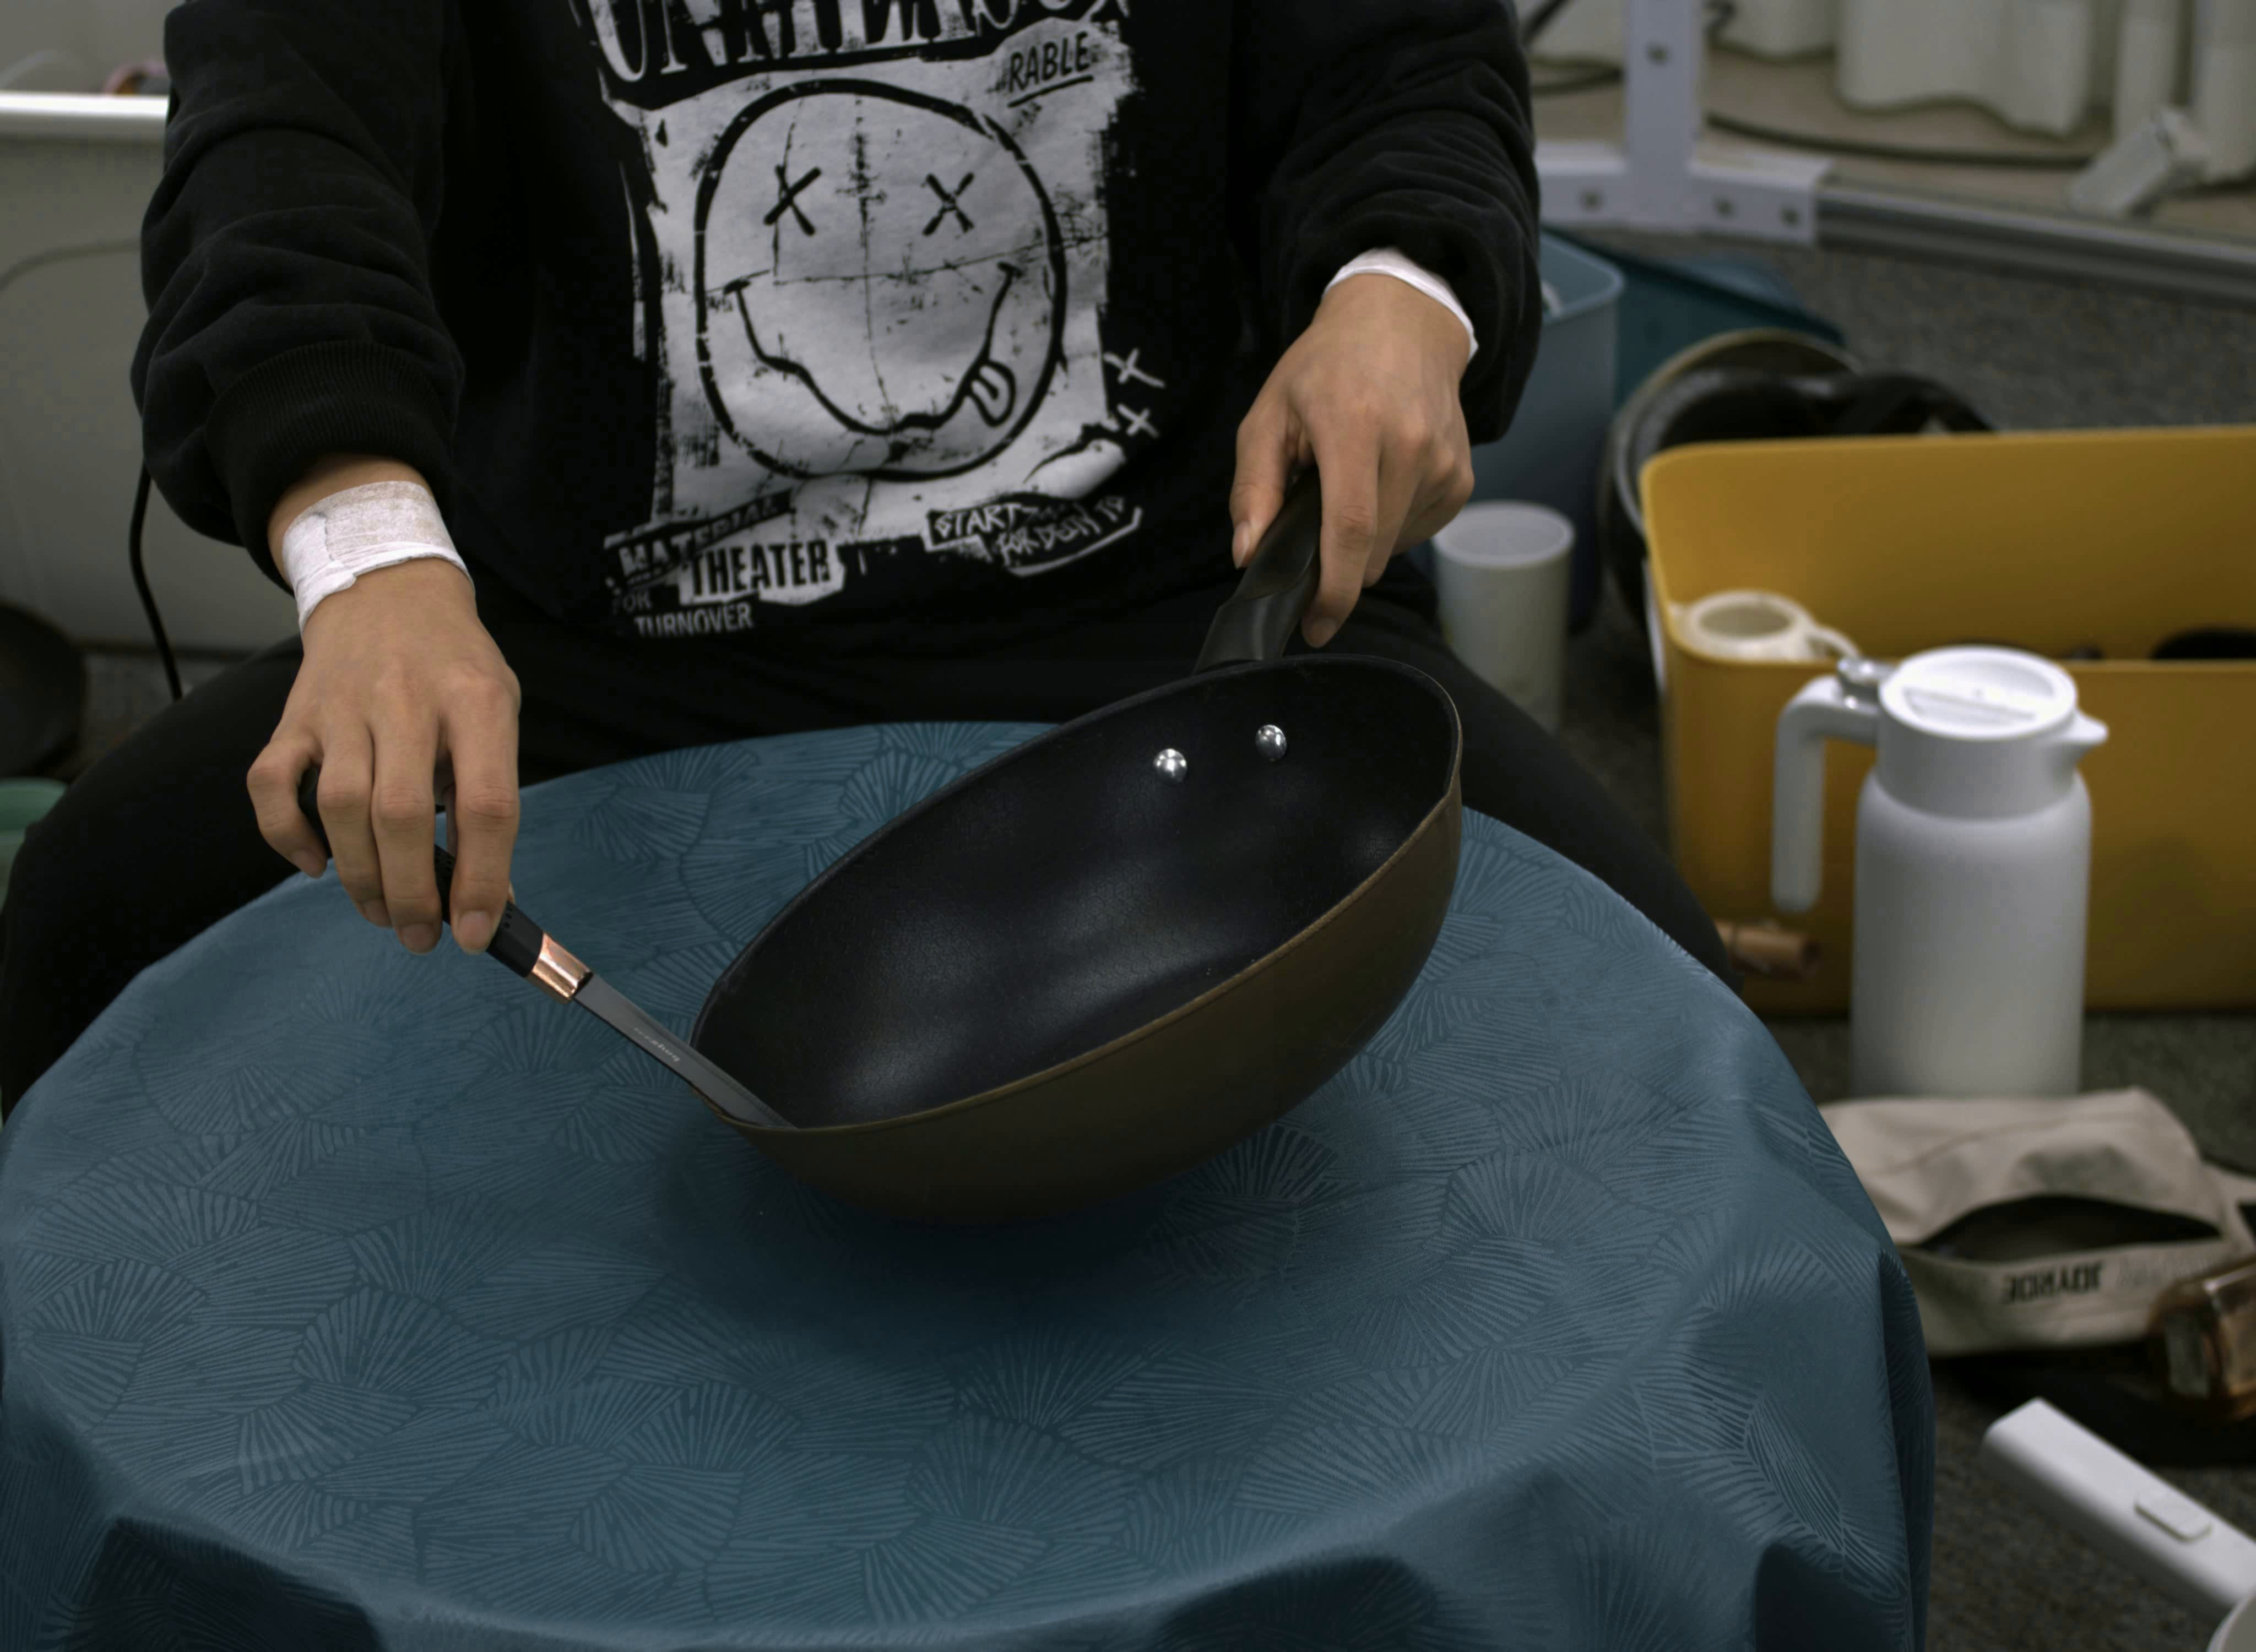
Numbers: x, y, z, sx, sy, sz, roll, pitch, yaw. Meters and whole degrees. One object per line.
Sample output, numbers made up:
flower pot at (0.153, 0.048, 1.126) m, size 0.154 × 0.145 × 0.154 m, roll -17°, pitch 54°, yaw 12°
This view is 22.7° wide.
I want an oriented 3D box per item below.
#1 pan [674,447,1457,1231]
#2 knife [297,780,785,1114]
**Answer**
pan at (0.024, 0.007, 1.926) m, size 0.284 × 0.086 × 0.472 m, roll -15°, pitch 23°, yaw 29°
knife at (-0.174, 0.053, 1.809) m, size 0.225 × 0.017 × 0.026 m, roll 35°, pitch 13°, yaw 2°
